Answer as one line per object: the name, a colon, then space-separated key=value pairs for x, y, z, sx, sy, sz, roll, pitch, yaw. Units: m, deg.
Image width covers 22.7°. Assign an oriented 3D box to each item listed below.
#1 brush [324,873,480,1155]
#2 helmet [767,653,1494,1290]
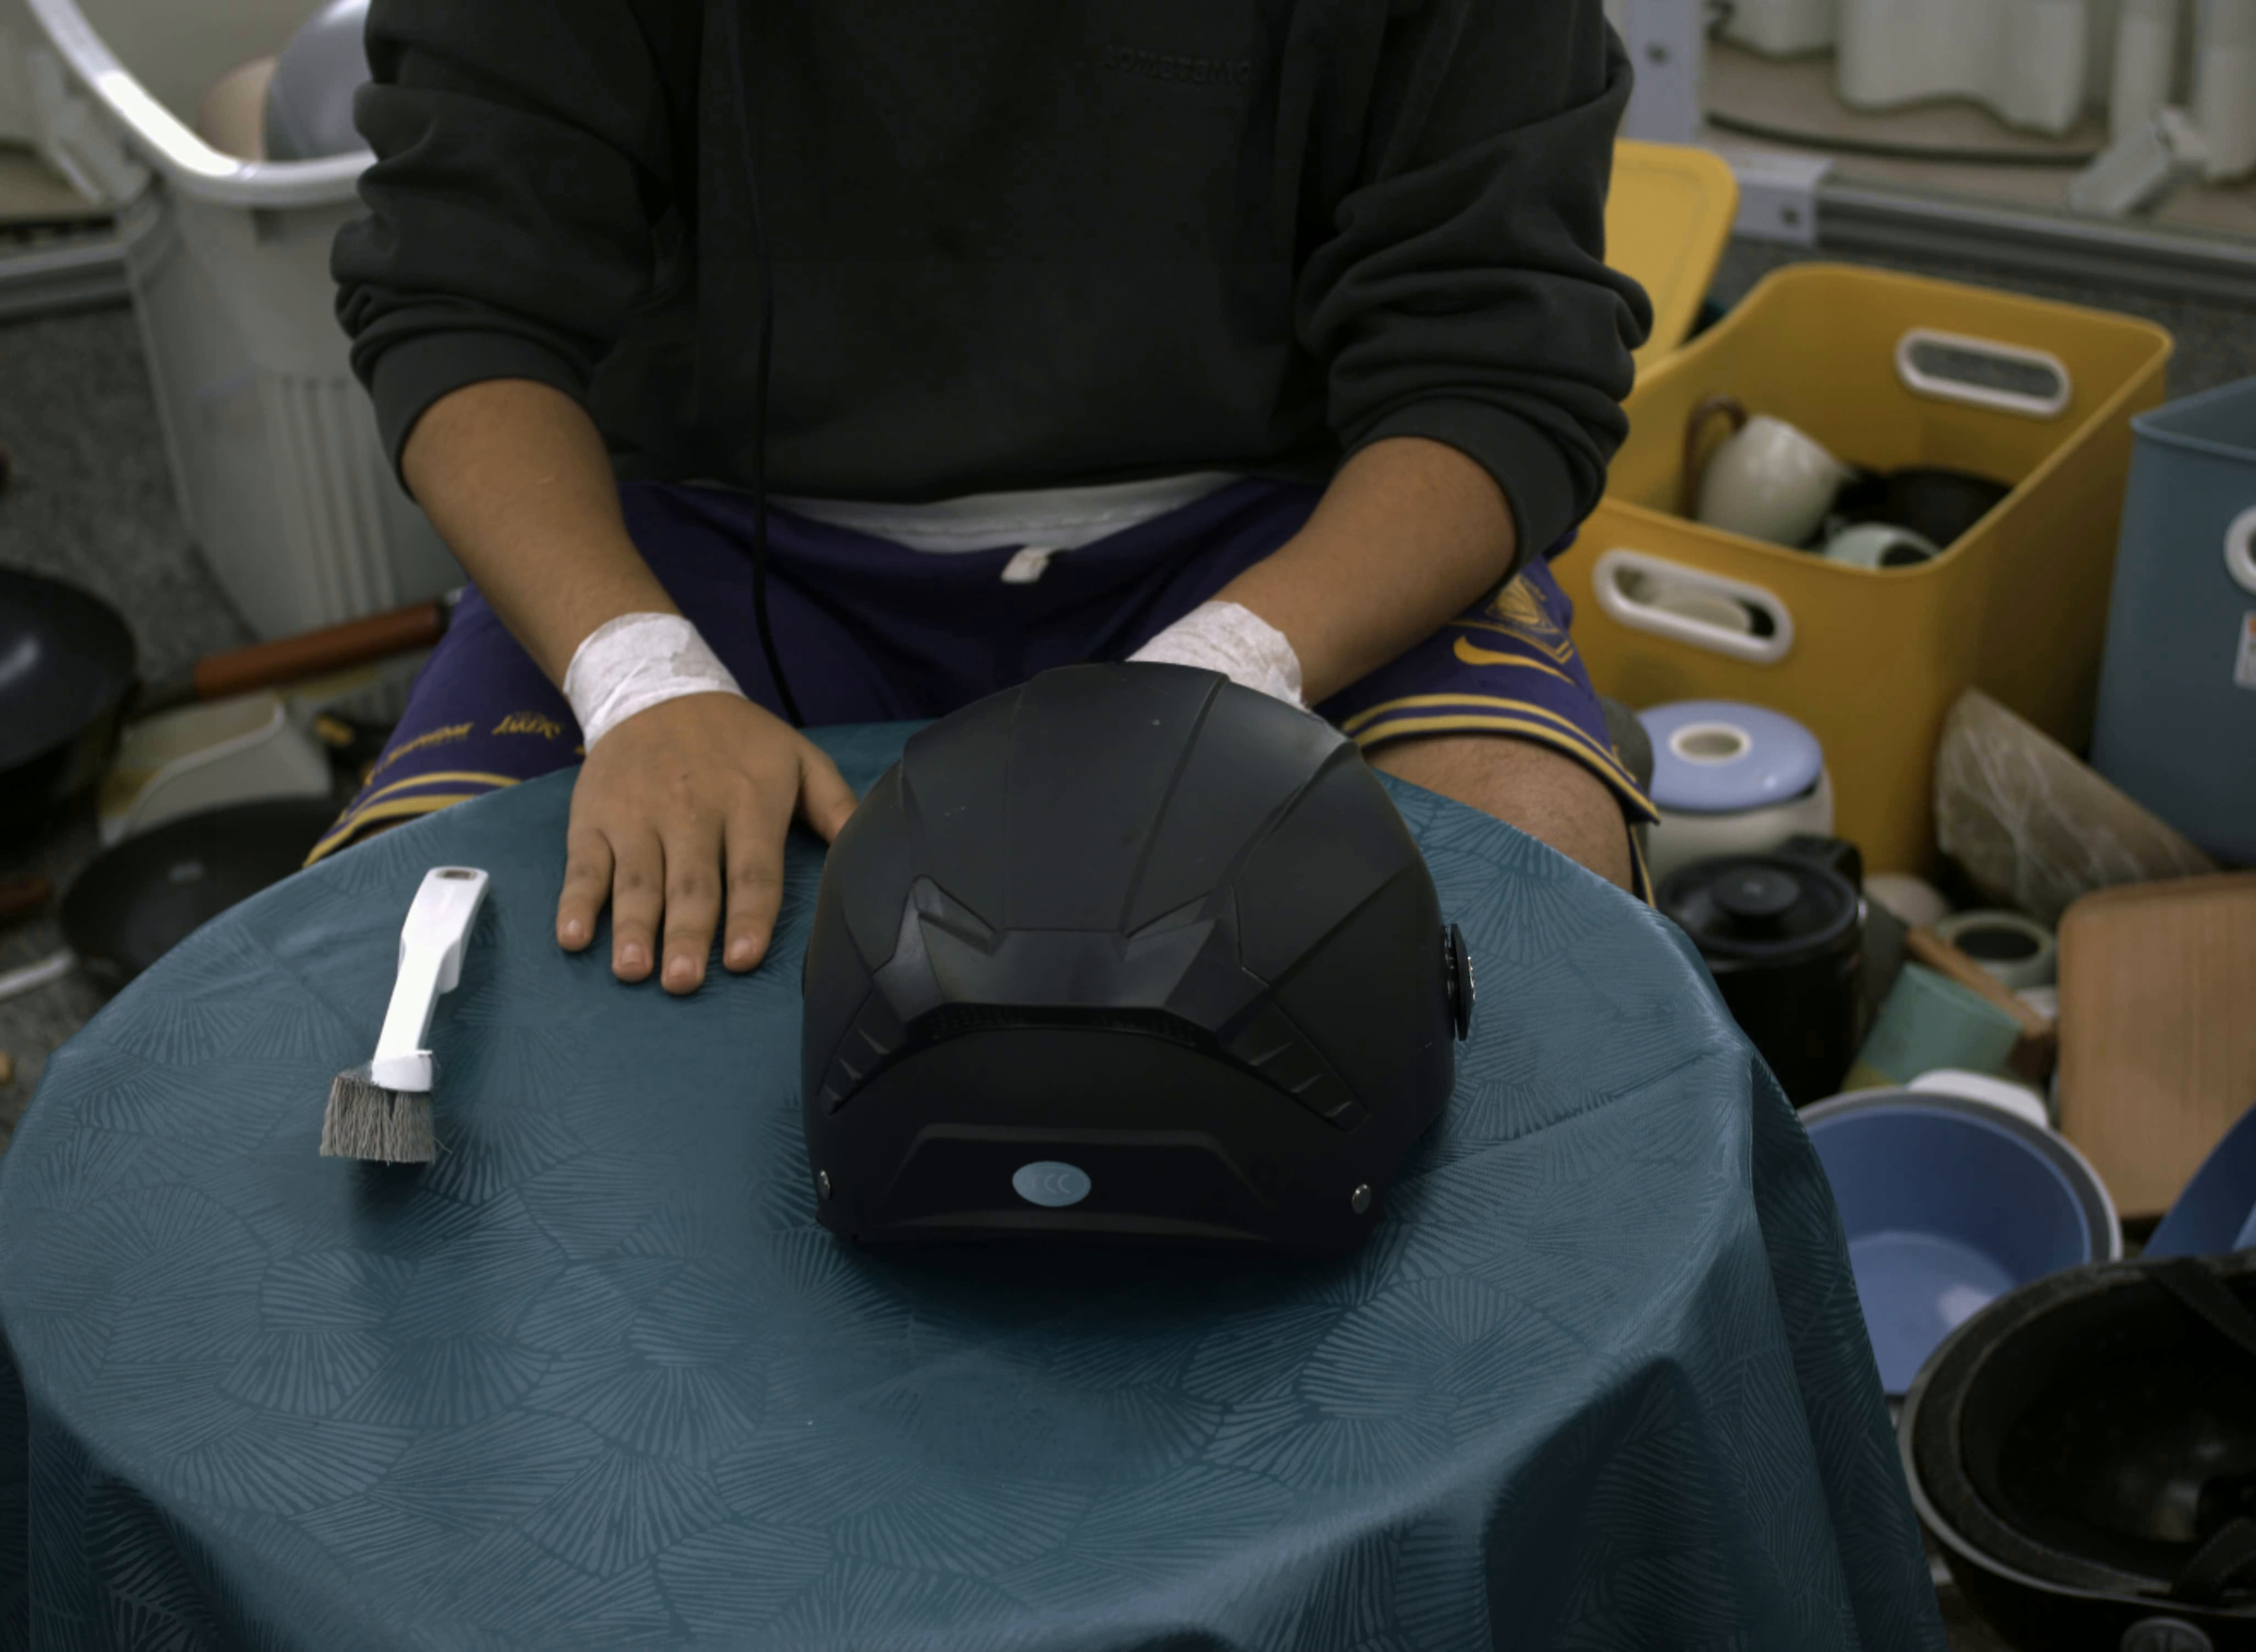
brush: x=-0.251 y=0.069 z=1.963 sx=0.034 sy=0.050 sz=0.245 roll=4 pitch=14 yaw=-2
helmet: x=0.001 y=0.031 z=1.865 sx=0.245 sy=0.170 sz=0.281 roll=2 pitch=29 yaw=10
